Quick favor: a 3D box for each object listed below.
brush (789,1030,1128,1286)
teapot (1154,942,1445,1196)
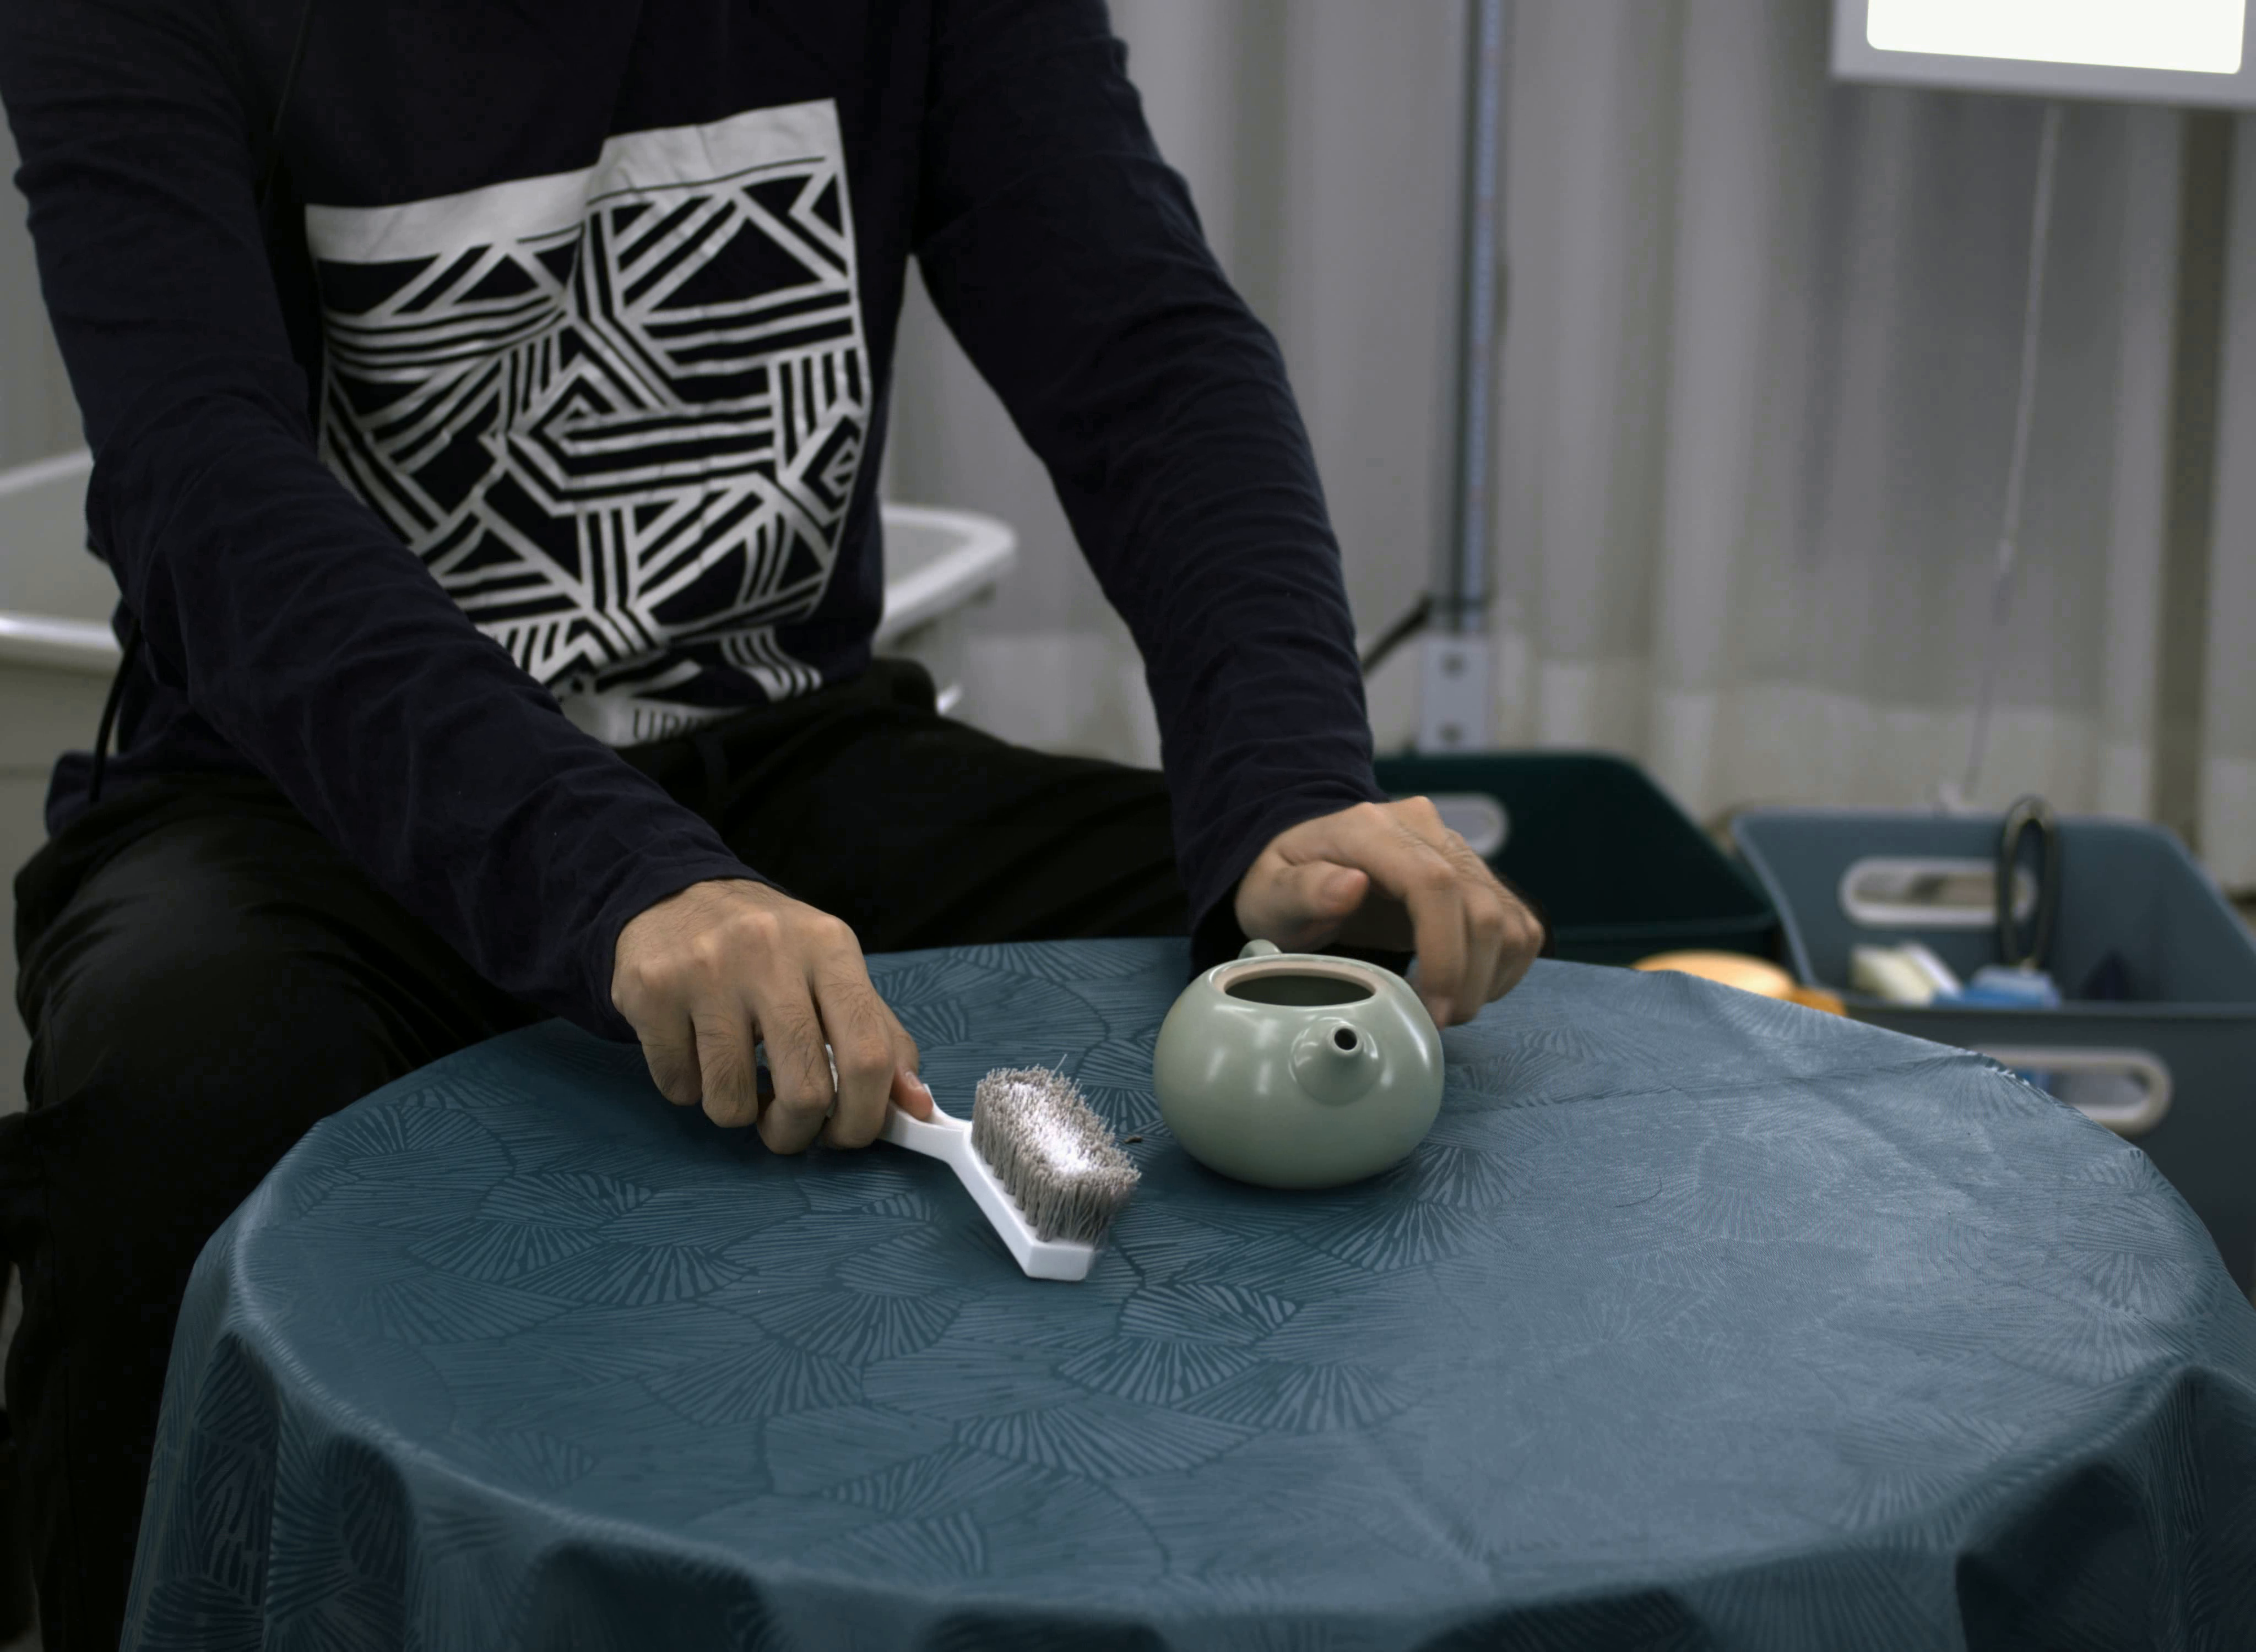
[{"bbox_3d":[-0.059,0.083,1.639,0.034,0.050,0.241,-10,19,-21],"label":"brush"},{"bbox_3d":[0.052,0.076,1.654,0.091,0.061,0.127,-7,16,-7],"label":"teapot"}]
